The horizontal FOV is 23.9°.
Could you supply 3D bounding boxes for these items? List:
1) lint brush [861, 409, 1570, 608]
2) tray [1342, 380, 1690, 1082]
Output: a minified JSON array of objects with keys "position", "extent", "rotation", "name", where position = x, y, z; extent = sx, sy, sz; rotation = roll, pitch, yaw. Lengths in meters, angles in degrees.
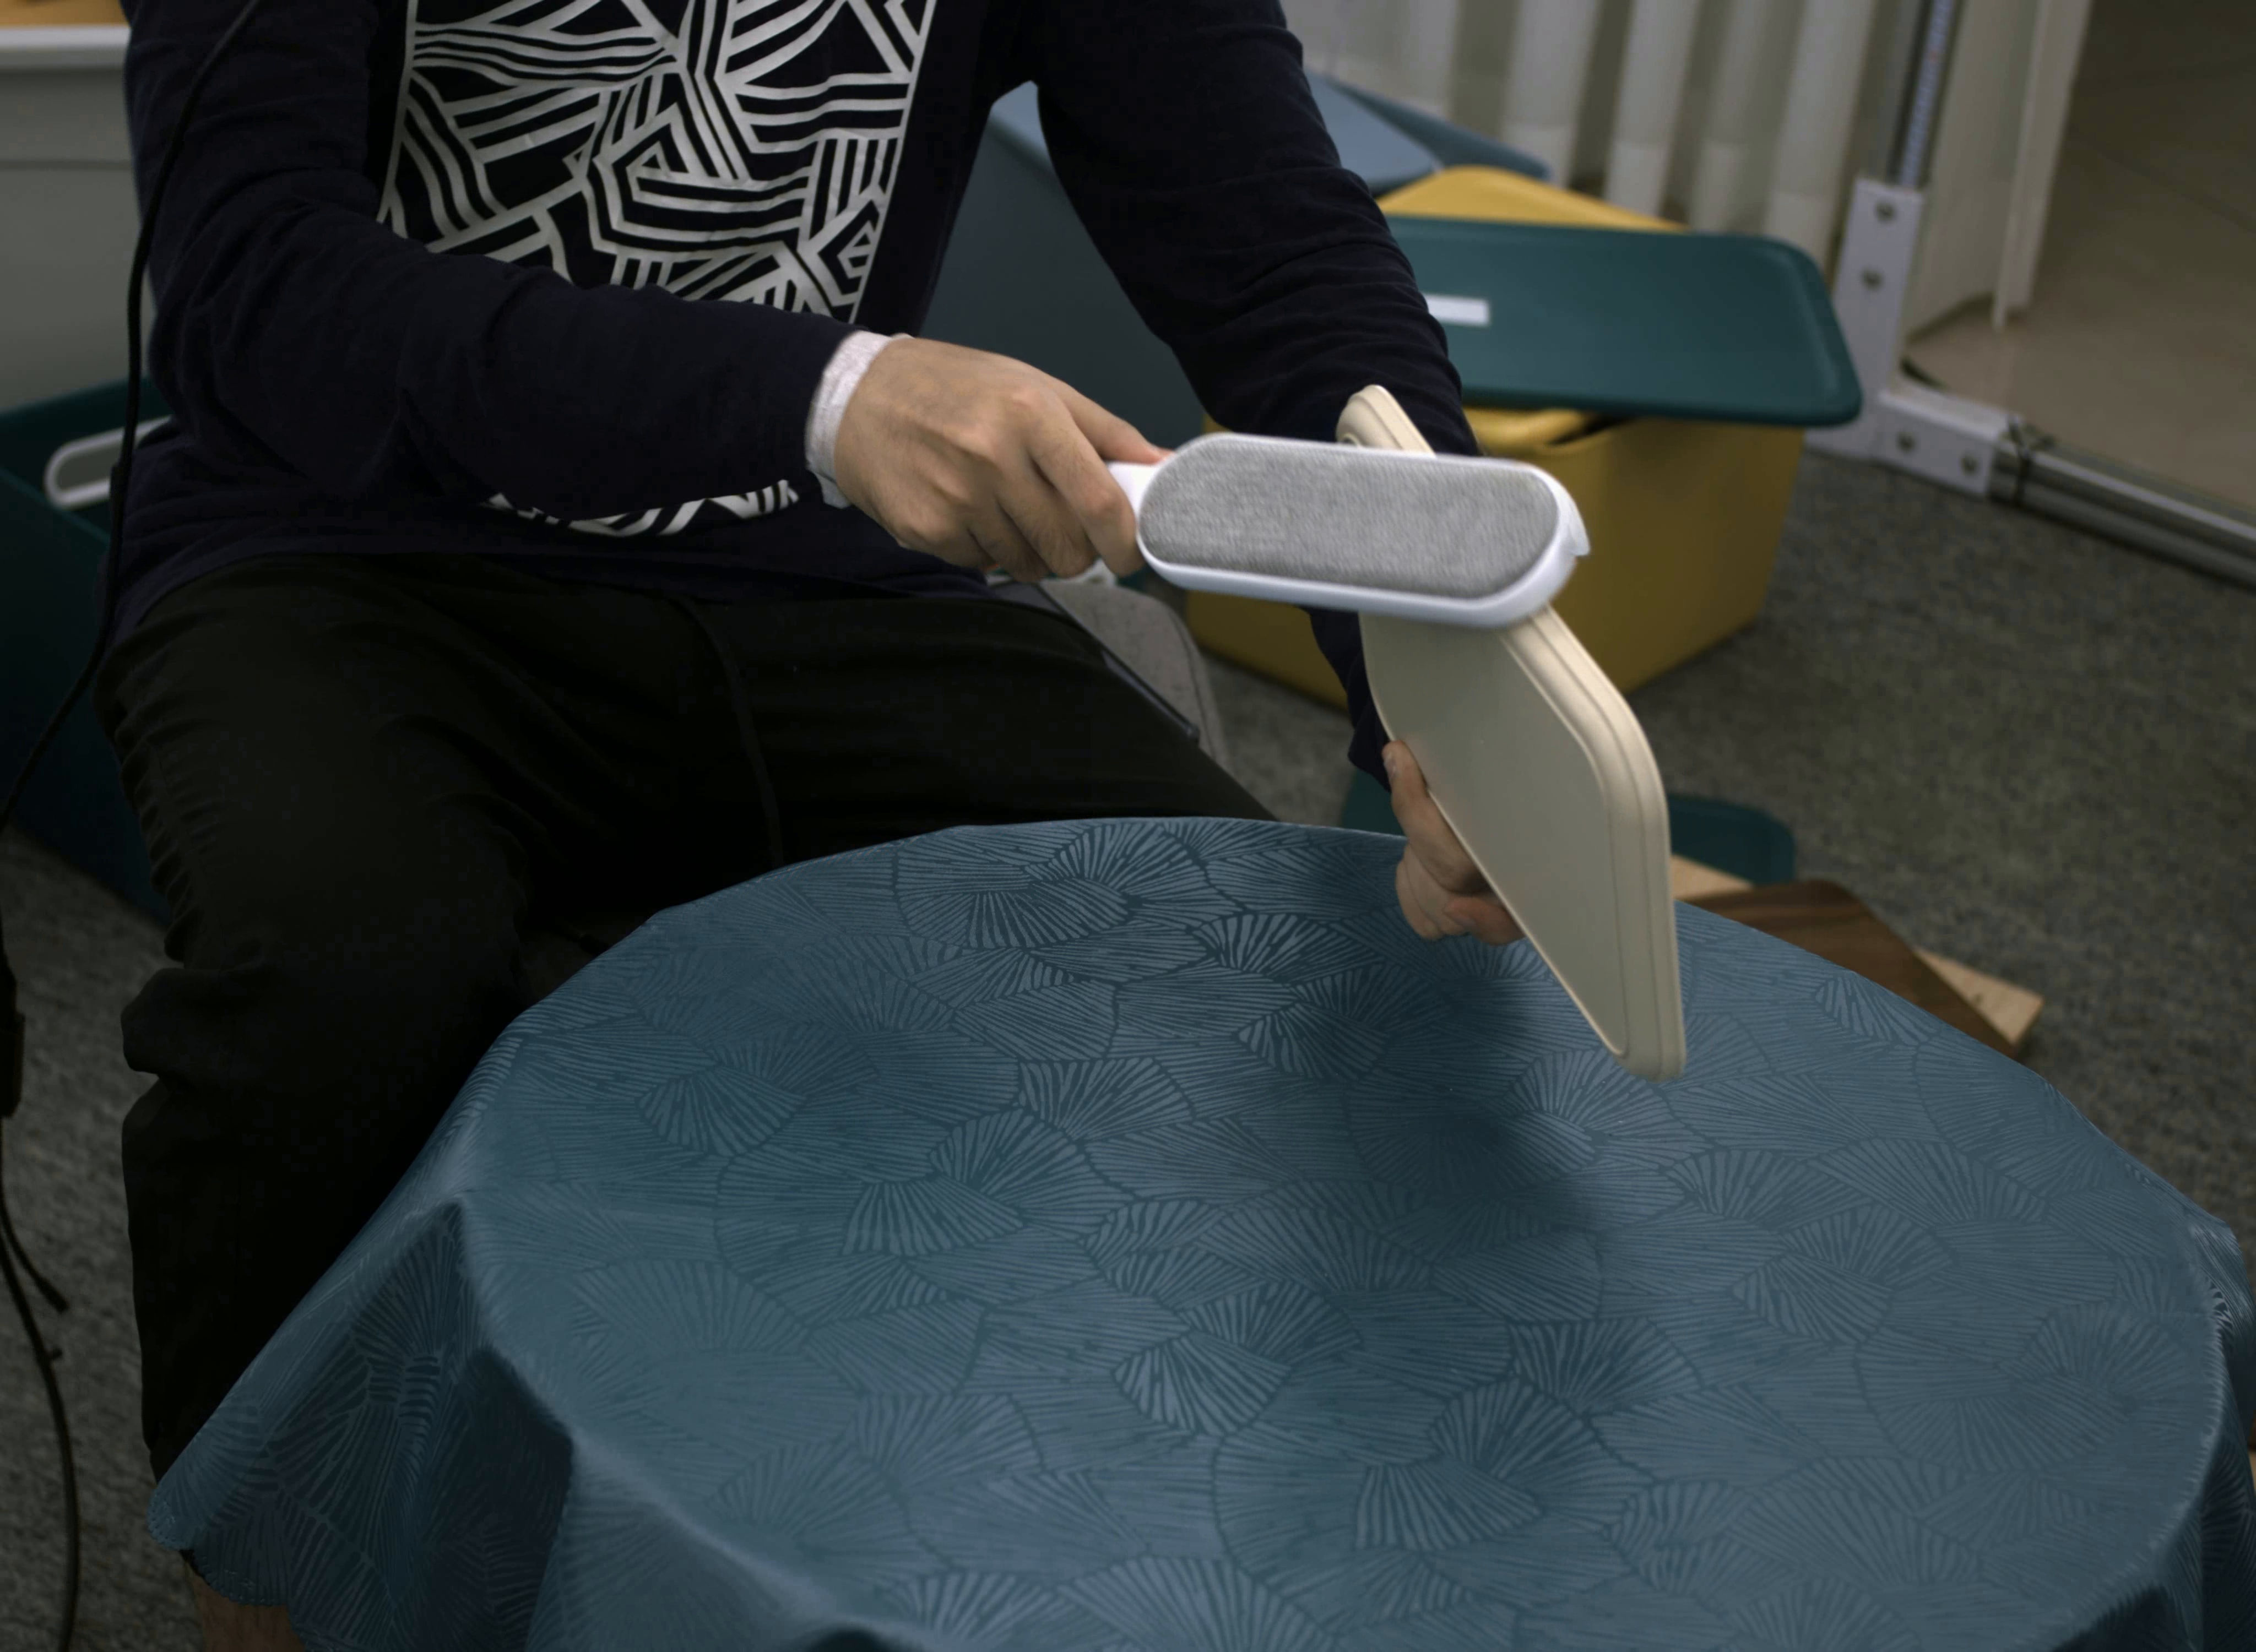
[{"position":[0.024,-0.115,1.844],"extent":[0.310,0.060,0.021],"rotation":[9,-17,40],"name":"lint brush"},{"position":[0.130,-0.032,1.831],"extent":[0.017,0.170,0.242],"rotation":[-20,44,-11],"name":"tray"}]
